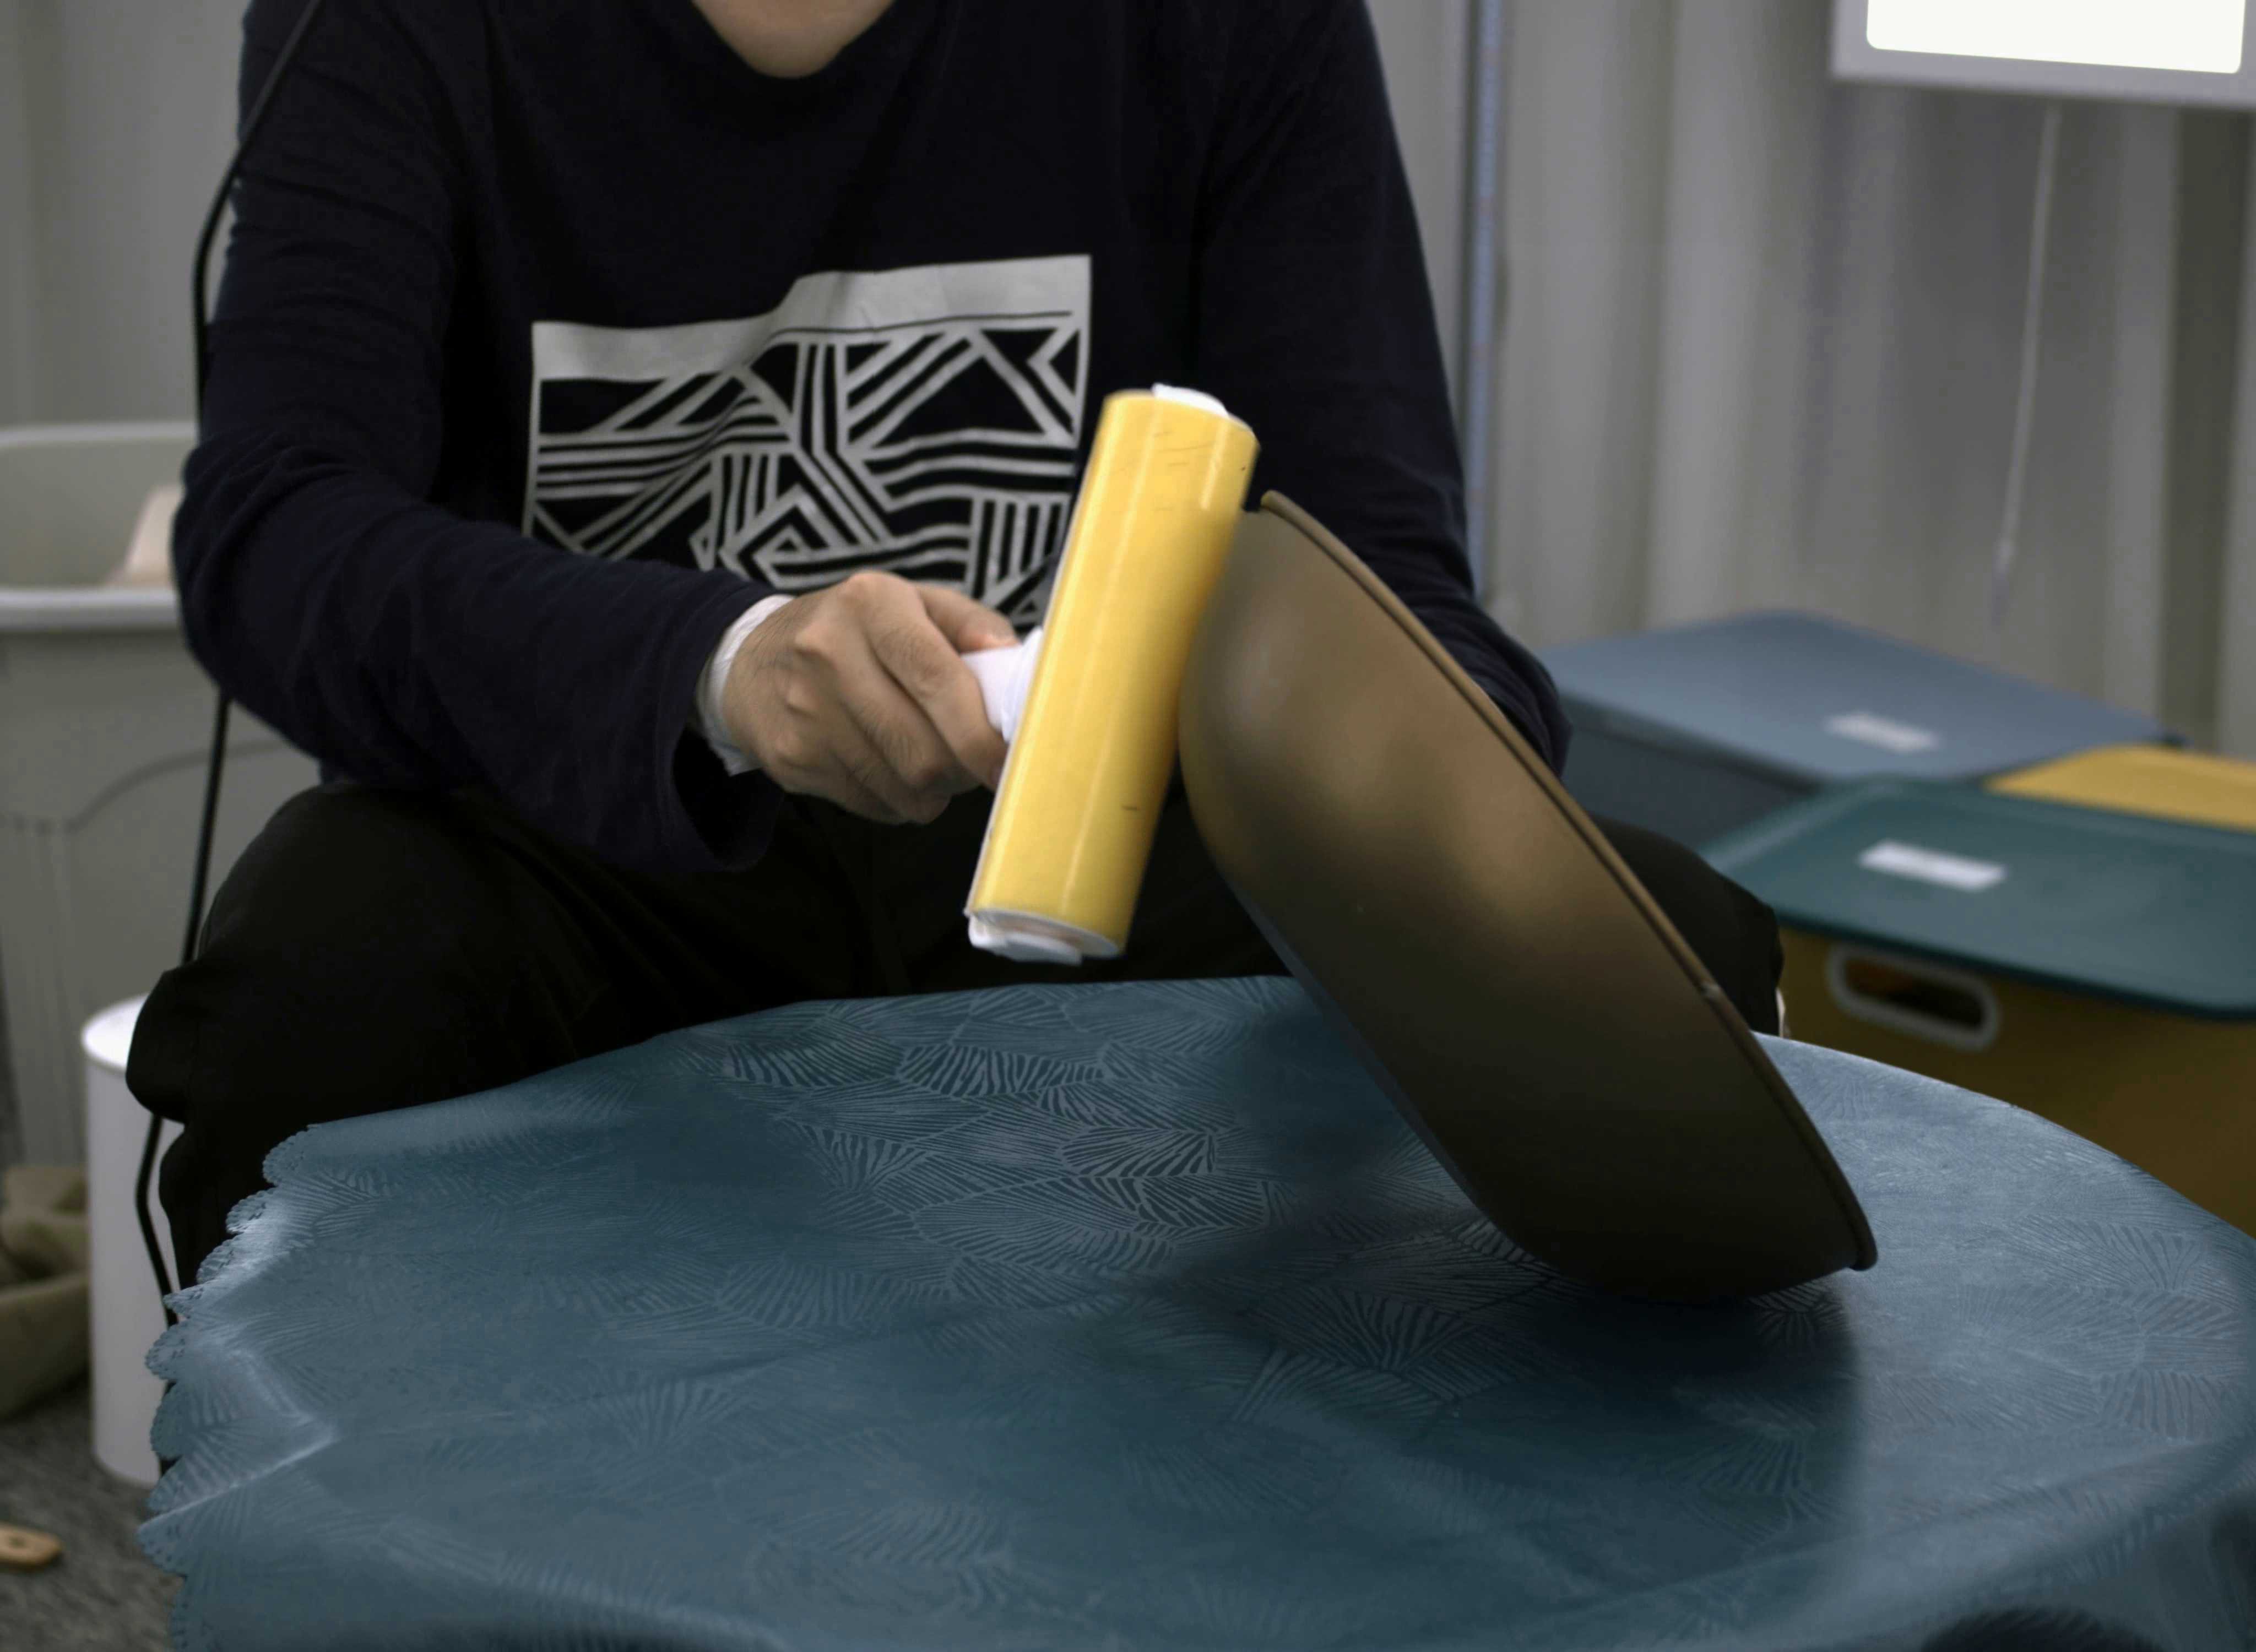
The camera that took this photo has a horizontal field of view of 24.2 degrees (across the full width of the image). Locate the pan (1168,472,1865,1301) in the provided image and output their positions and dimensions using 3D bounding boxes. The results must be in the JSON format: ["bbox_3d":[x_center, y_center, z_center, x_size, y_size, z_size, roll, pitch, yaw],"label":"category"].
[{"bbox_3d":[0.081,0.021,1.603,0.087,0.290,0.460,-37,13,-2],"label":"pan"}]

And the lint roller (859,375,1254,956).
[{"bbox_3d":[-0.044,-0.043,1.594,0.052,0.174,0.190,22,-14,-32],"label":"lint roller"}]
